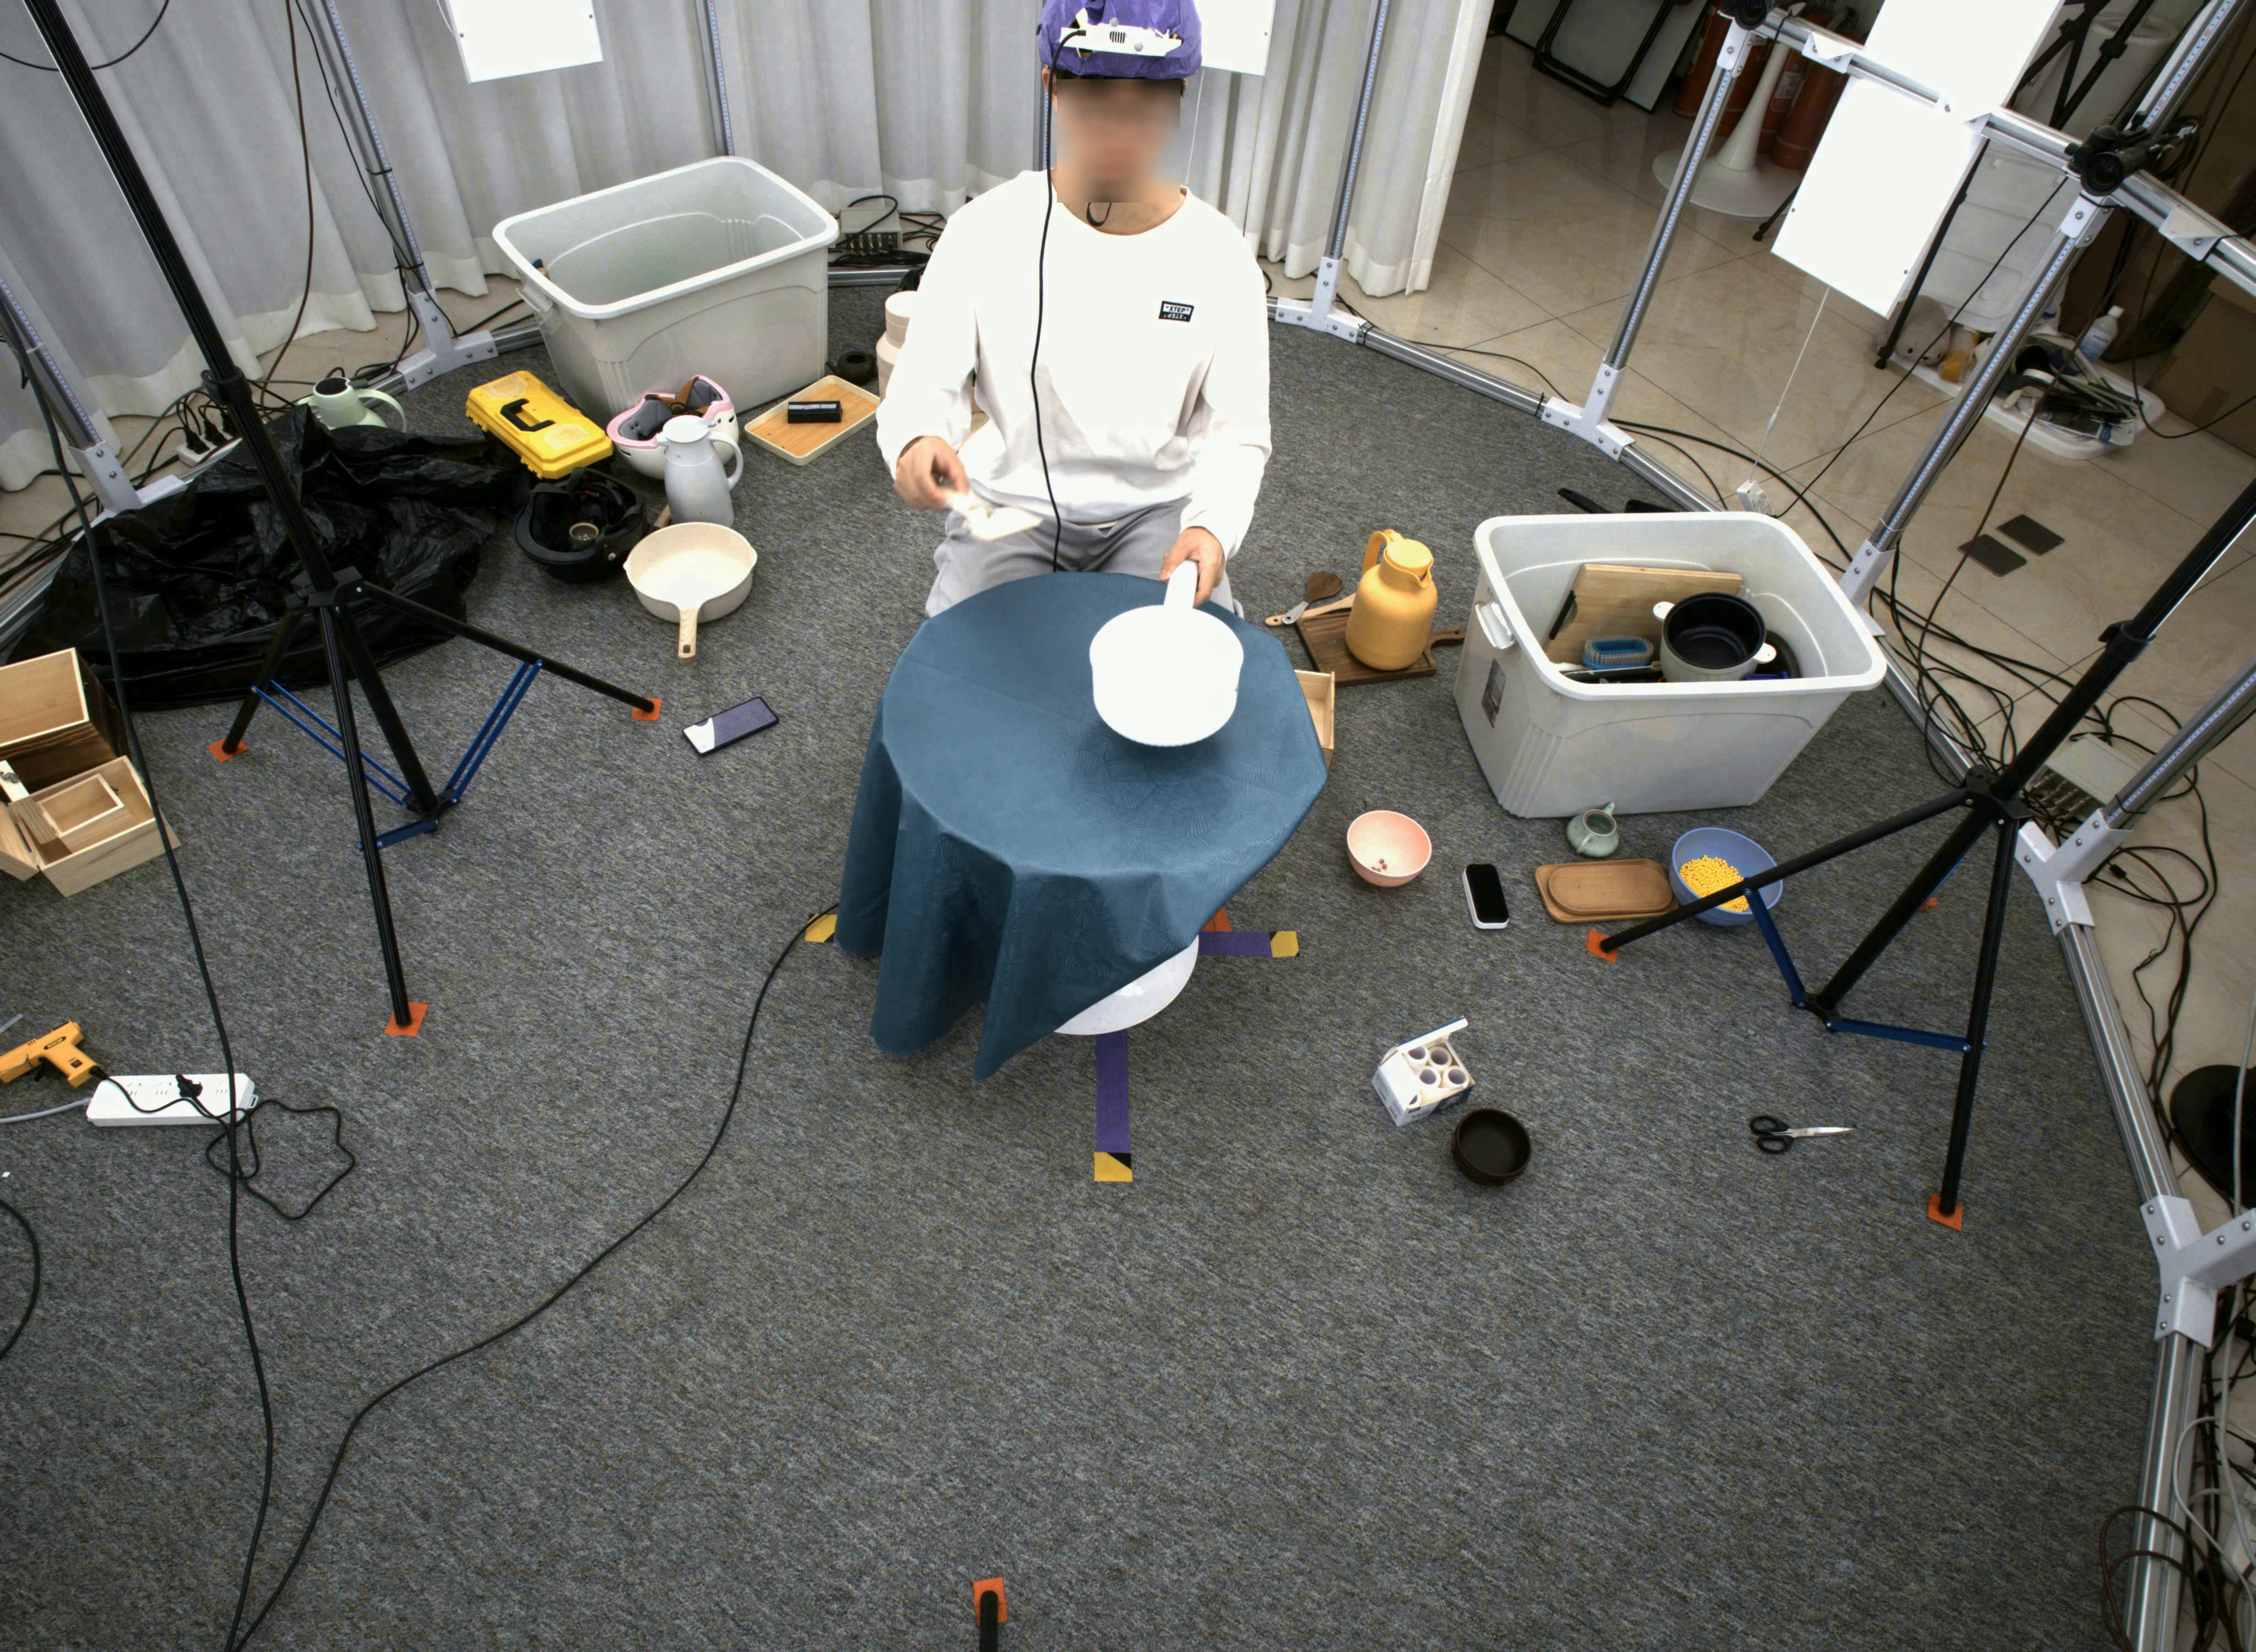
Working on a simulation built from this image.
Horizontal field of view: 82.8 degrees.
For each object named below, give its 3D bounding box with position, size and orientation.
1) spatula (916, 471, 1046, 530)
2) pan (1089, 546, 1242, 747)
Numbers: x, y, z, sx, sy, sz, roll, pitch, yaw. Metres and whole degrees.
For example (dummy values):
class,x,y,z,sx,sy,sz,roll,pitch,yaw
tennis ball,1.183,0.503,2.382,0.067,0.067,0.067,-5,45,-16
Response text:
class,x,y,z,sx,sy,sz,roll,pitch,yaw
spatula,-0.197,-0.407,1.603,0.072,0.010,0.298,-24,34,-22
pan,0.062,-0.250,1.773,0.201,0.099,0.363,5,44,7
